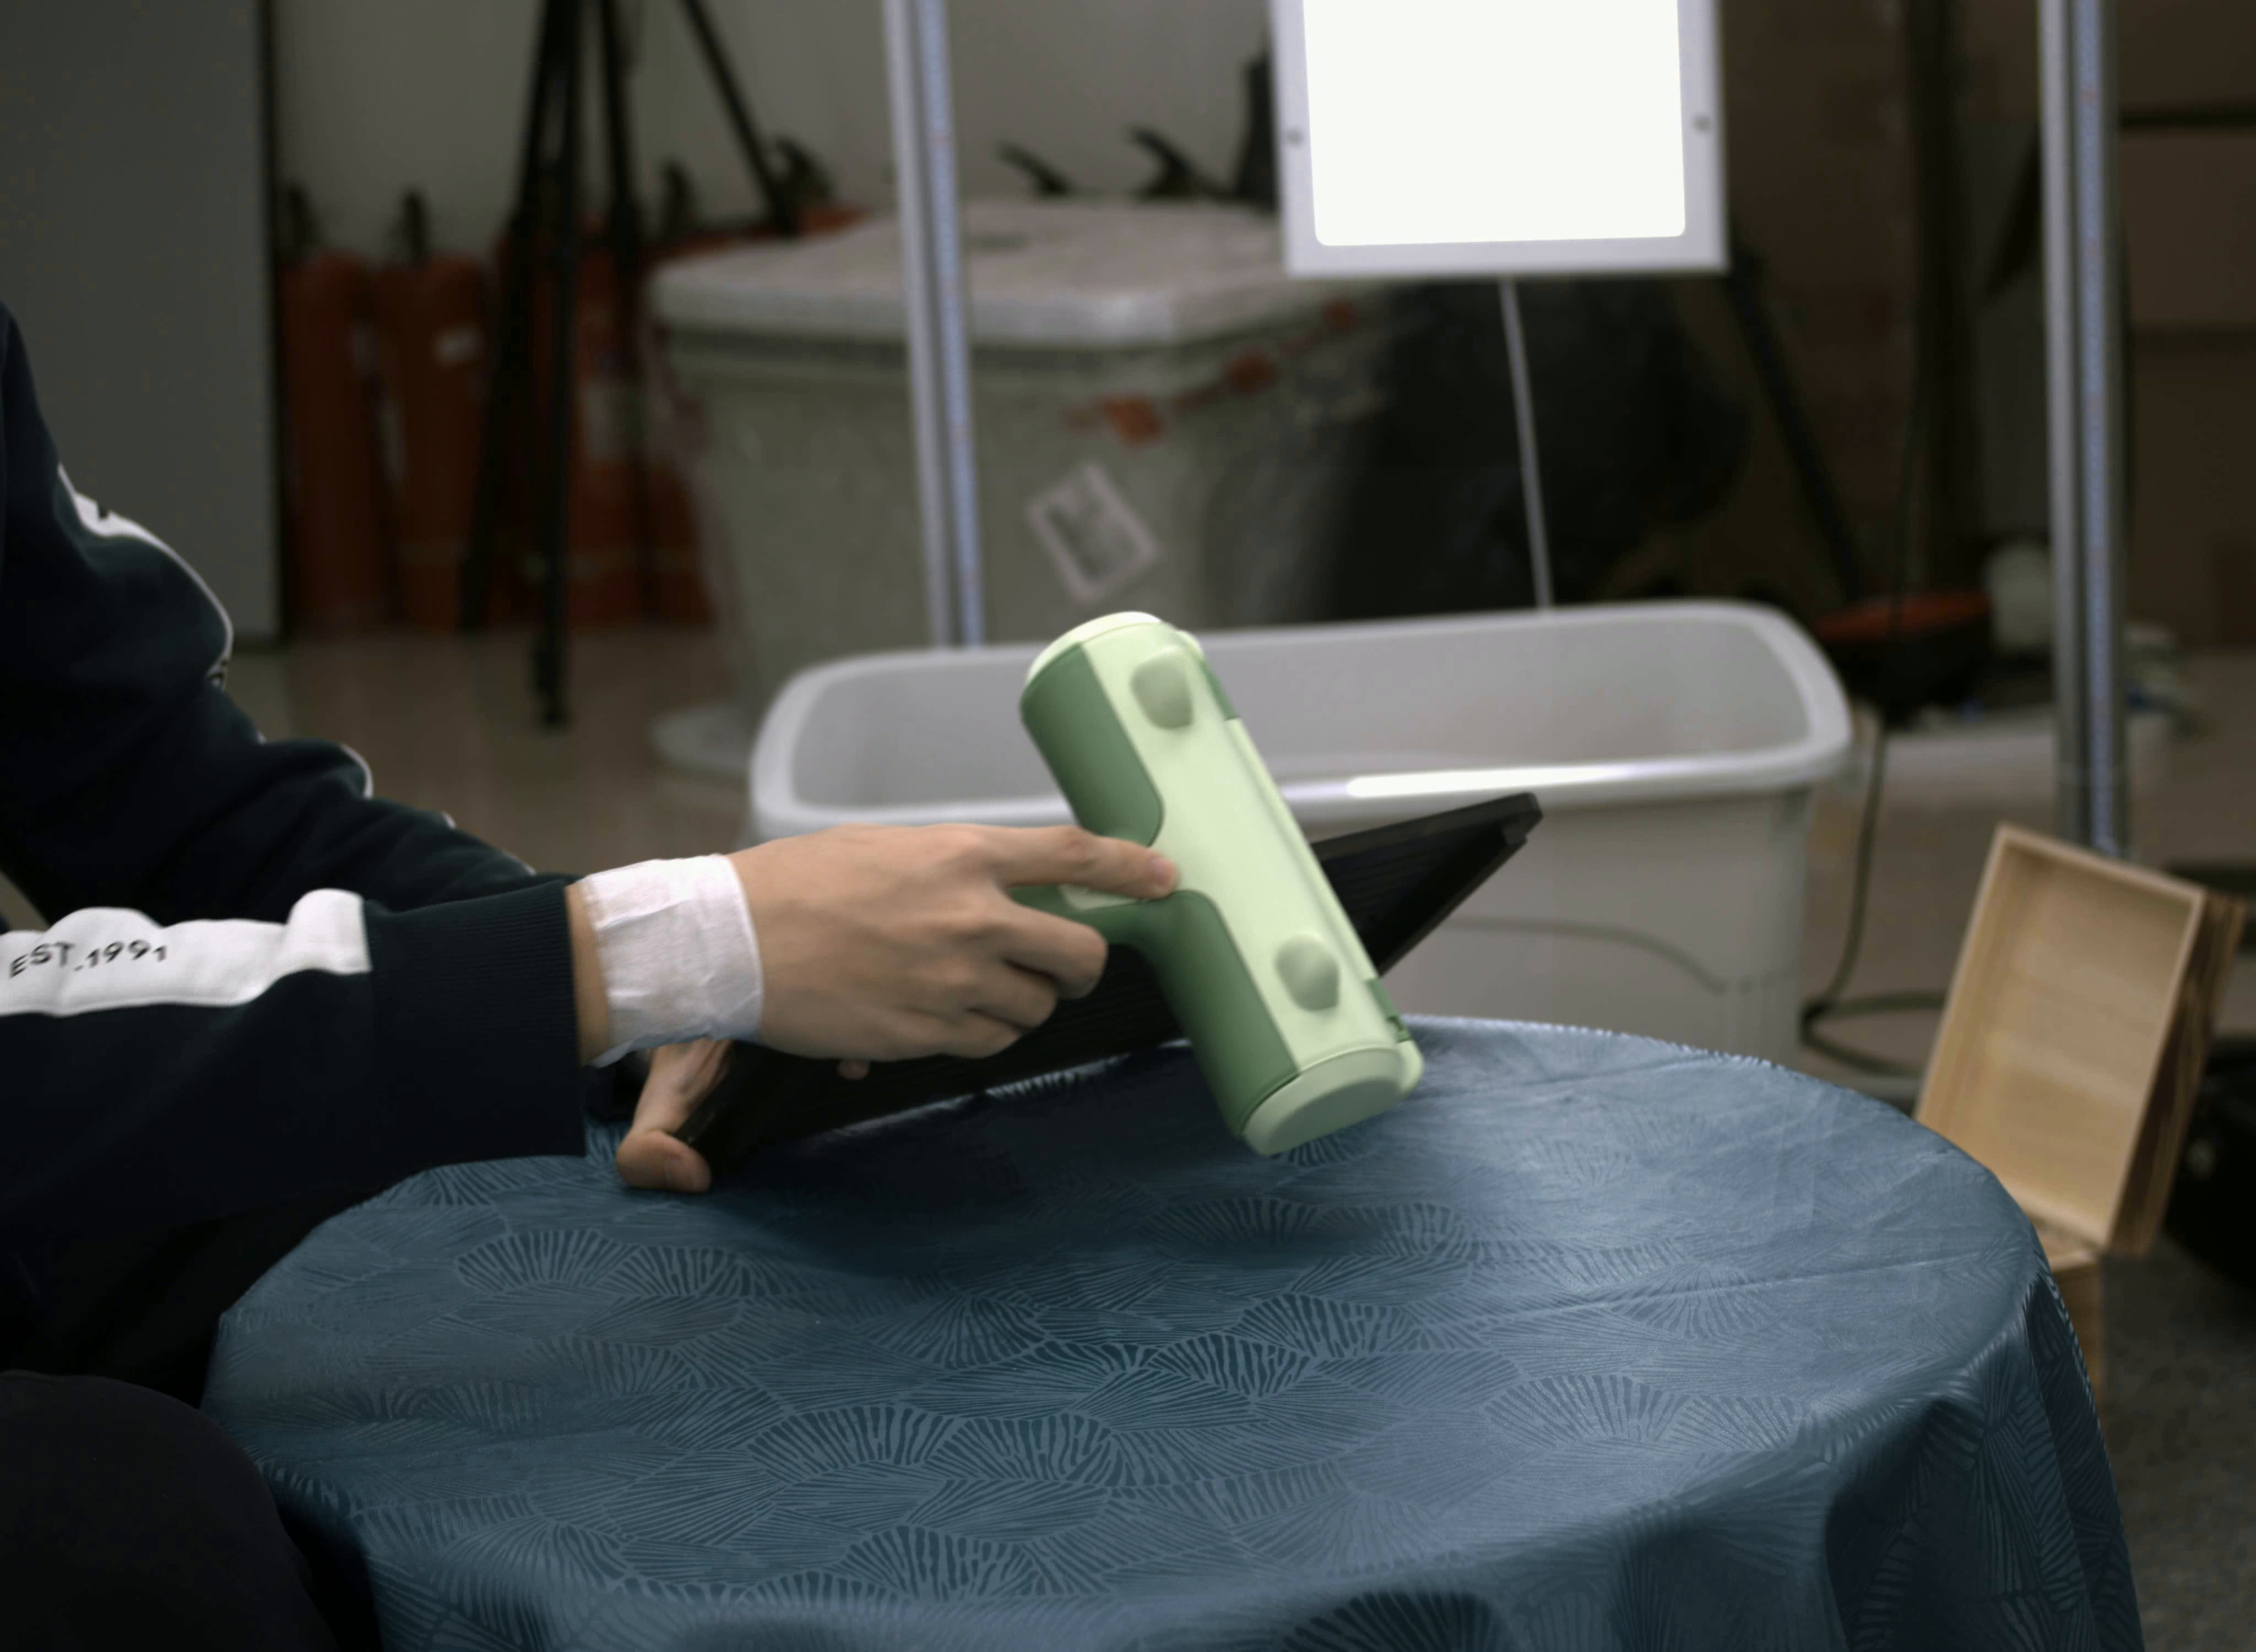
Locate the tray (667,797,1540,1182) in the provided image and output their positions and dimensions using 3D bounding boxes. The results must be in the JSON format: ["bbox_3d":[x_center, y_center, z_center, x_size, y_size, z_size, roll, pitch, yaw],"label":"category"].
[{"bbox_3d":[-0.006,0.060,1.960,0.299,0.019,0.173,-13,-19,-30],"label":"tray"}]

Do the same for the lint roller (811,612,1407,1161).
[{"bbox_3d":[-0.015,0.018,1.815,0.179,0.200,0.084,-6,-32,-37],"label":"lint roller"}]
